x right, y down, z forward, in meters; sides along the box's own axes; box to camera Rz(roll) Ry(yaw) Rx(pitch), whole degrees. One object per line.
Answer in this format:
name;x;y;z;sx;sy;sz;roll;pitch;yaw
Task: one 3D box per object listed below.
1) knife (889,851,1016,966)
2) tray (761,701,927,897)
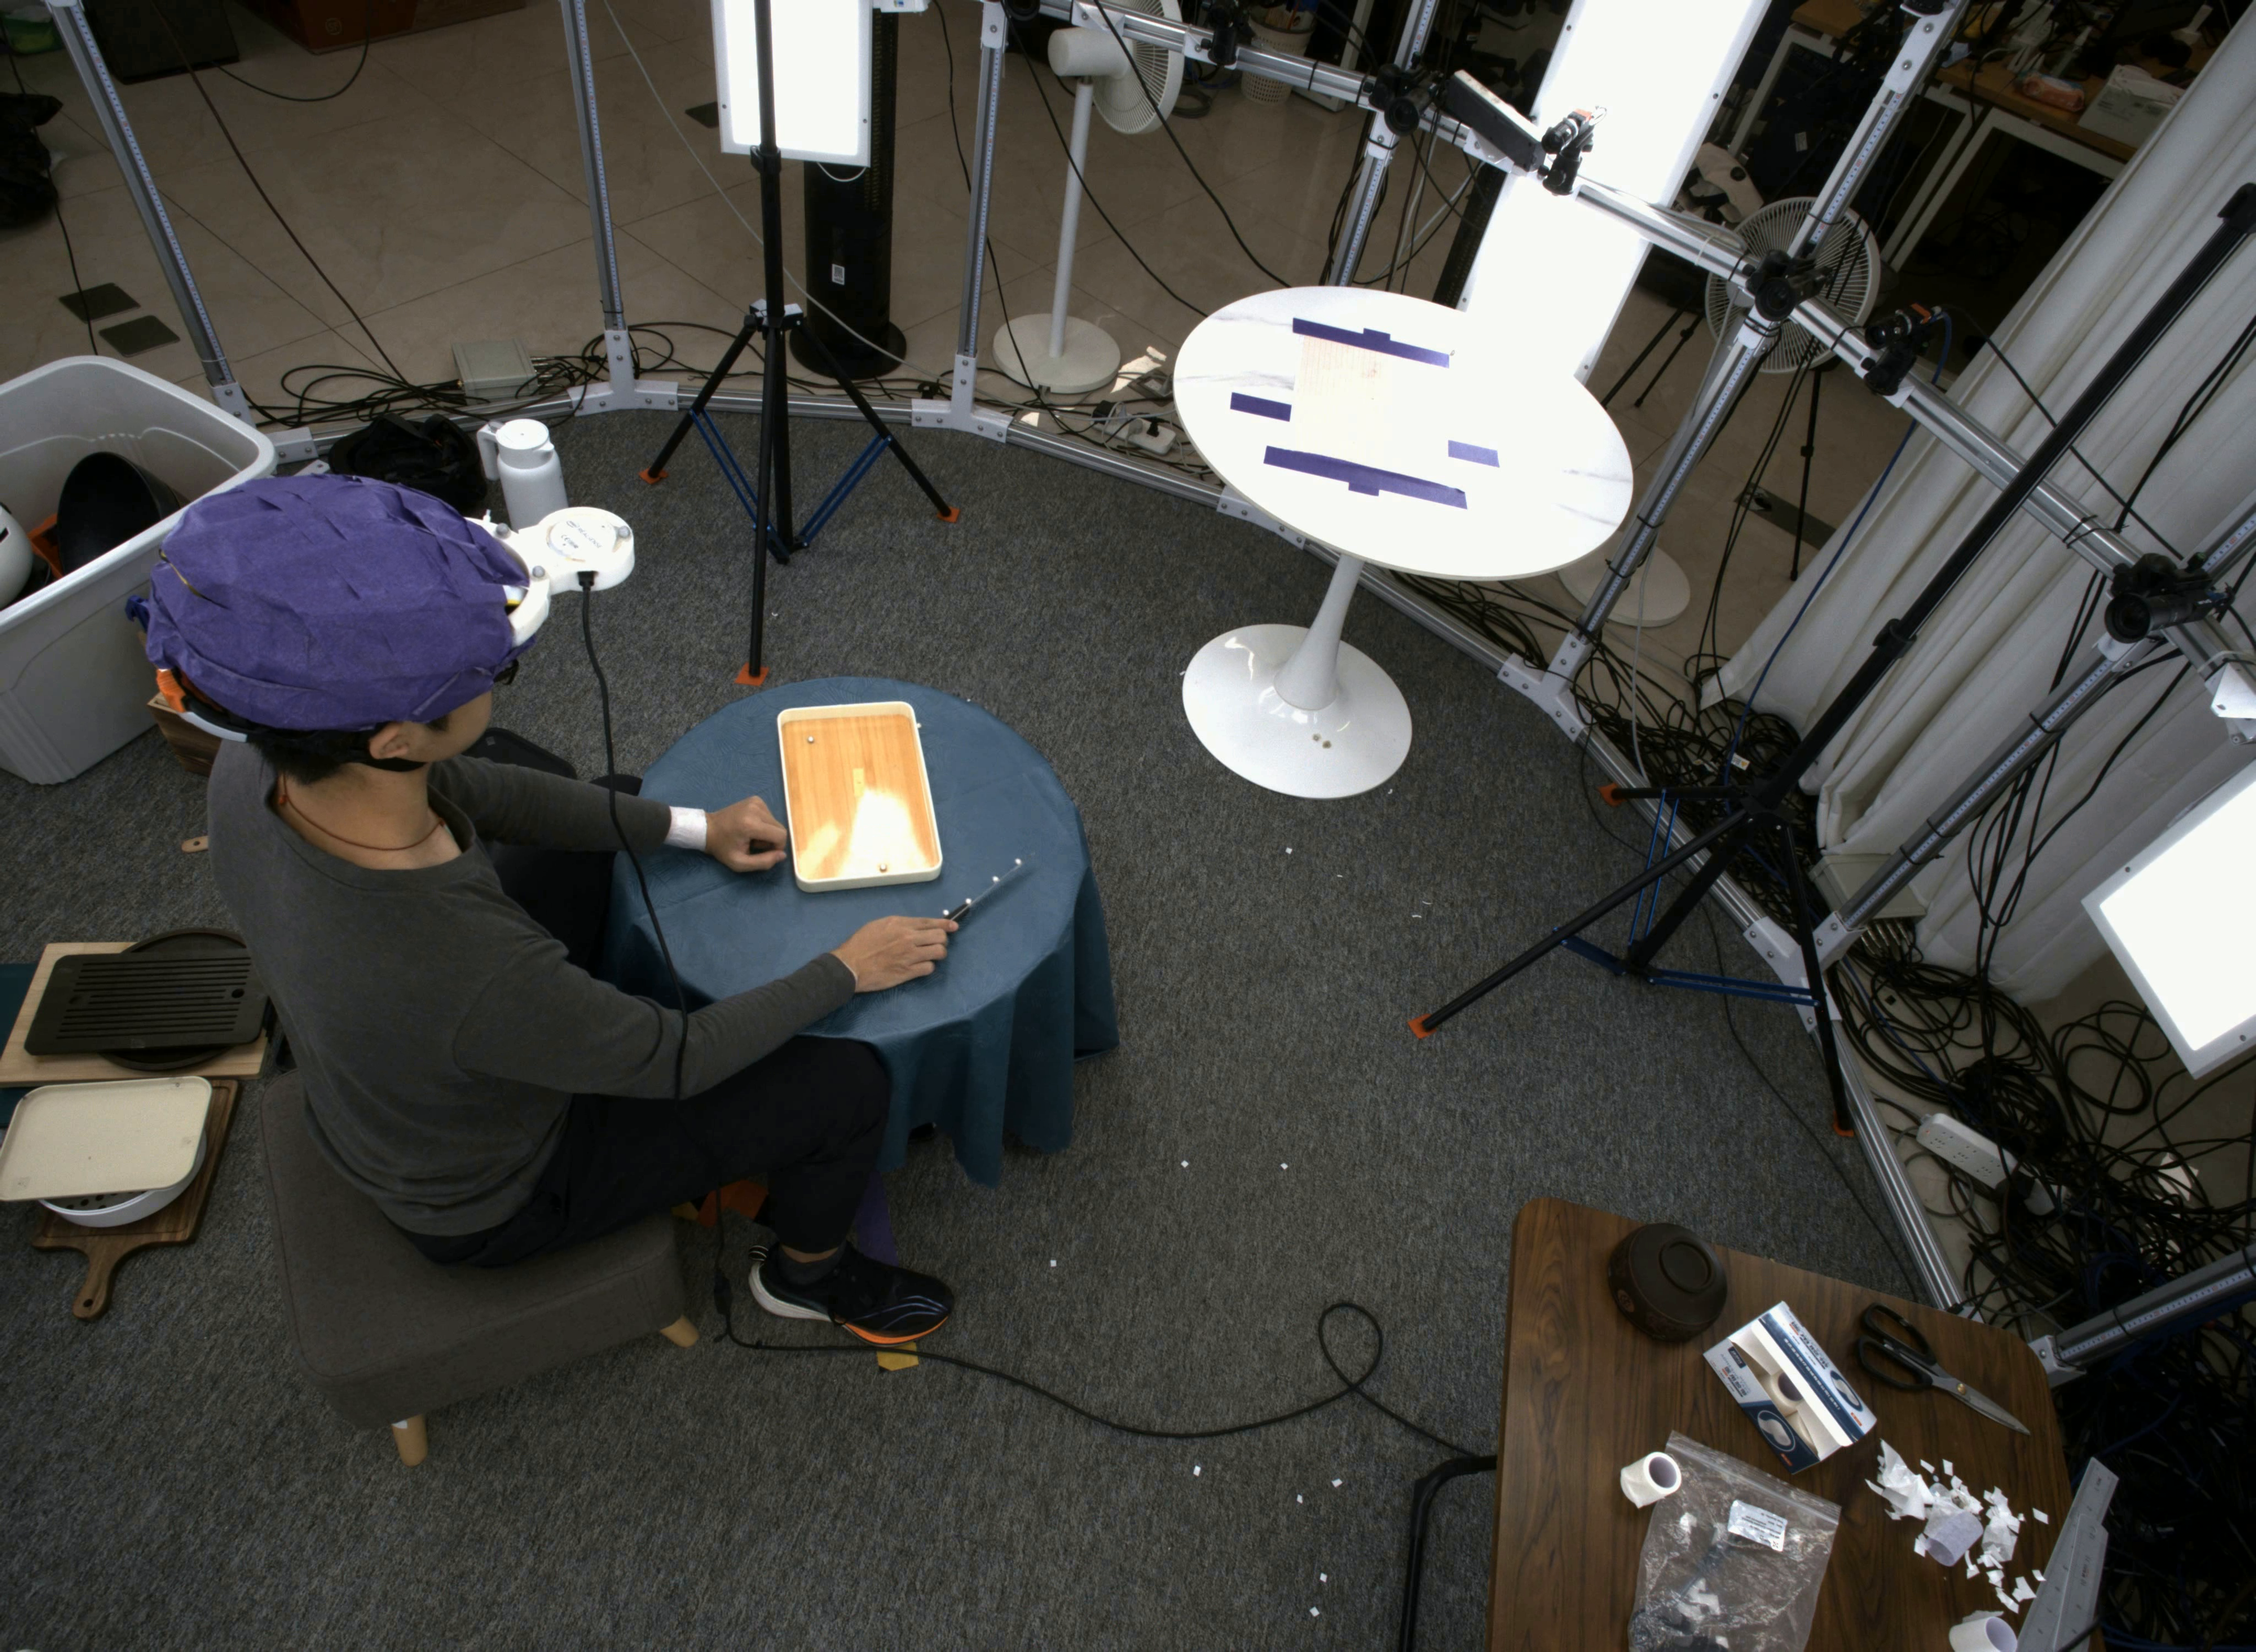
knife;-0.223;0.100;1.694;0.016;0.024;0.238;47;57;0
tray;-0.388;-0.044;1.760;0.192;0.028;0.293;-6;56;-17
